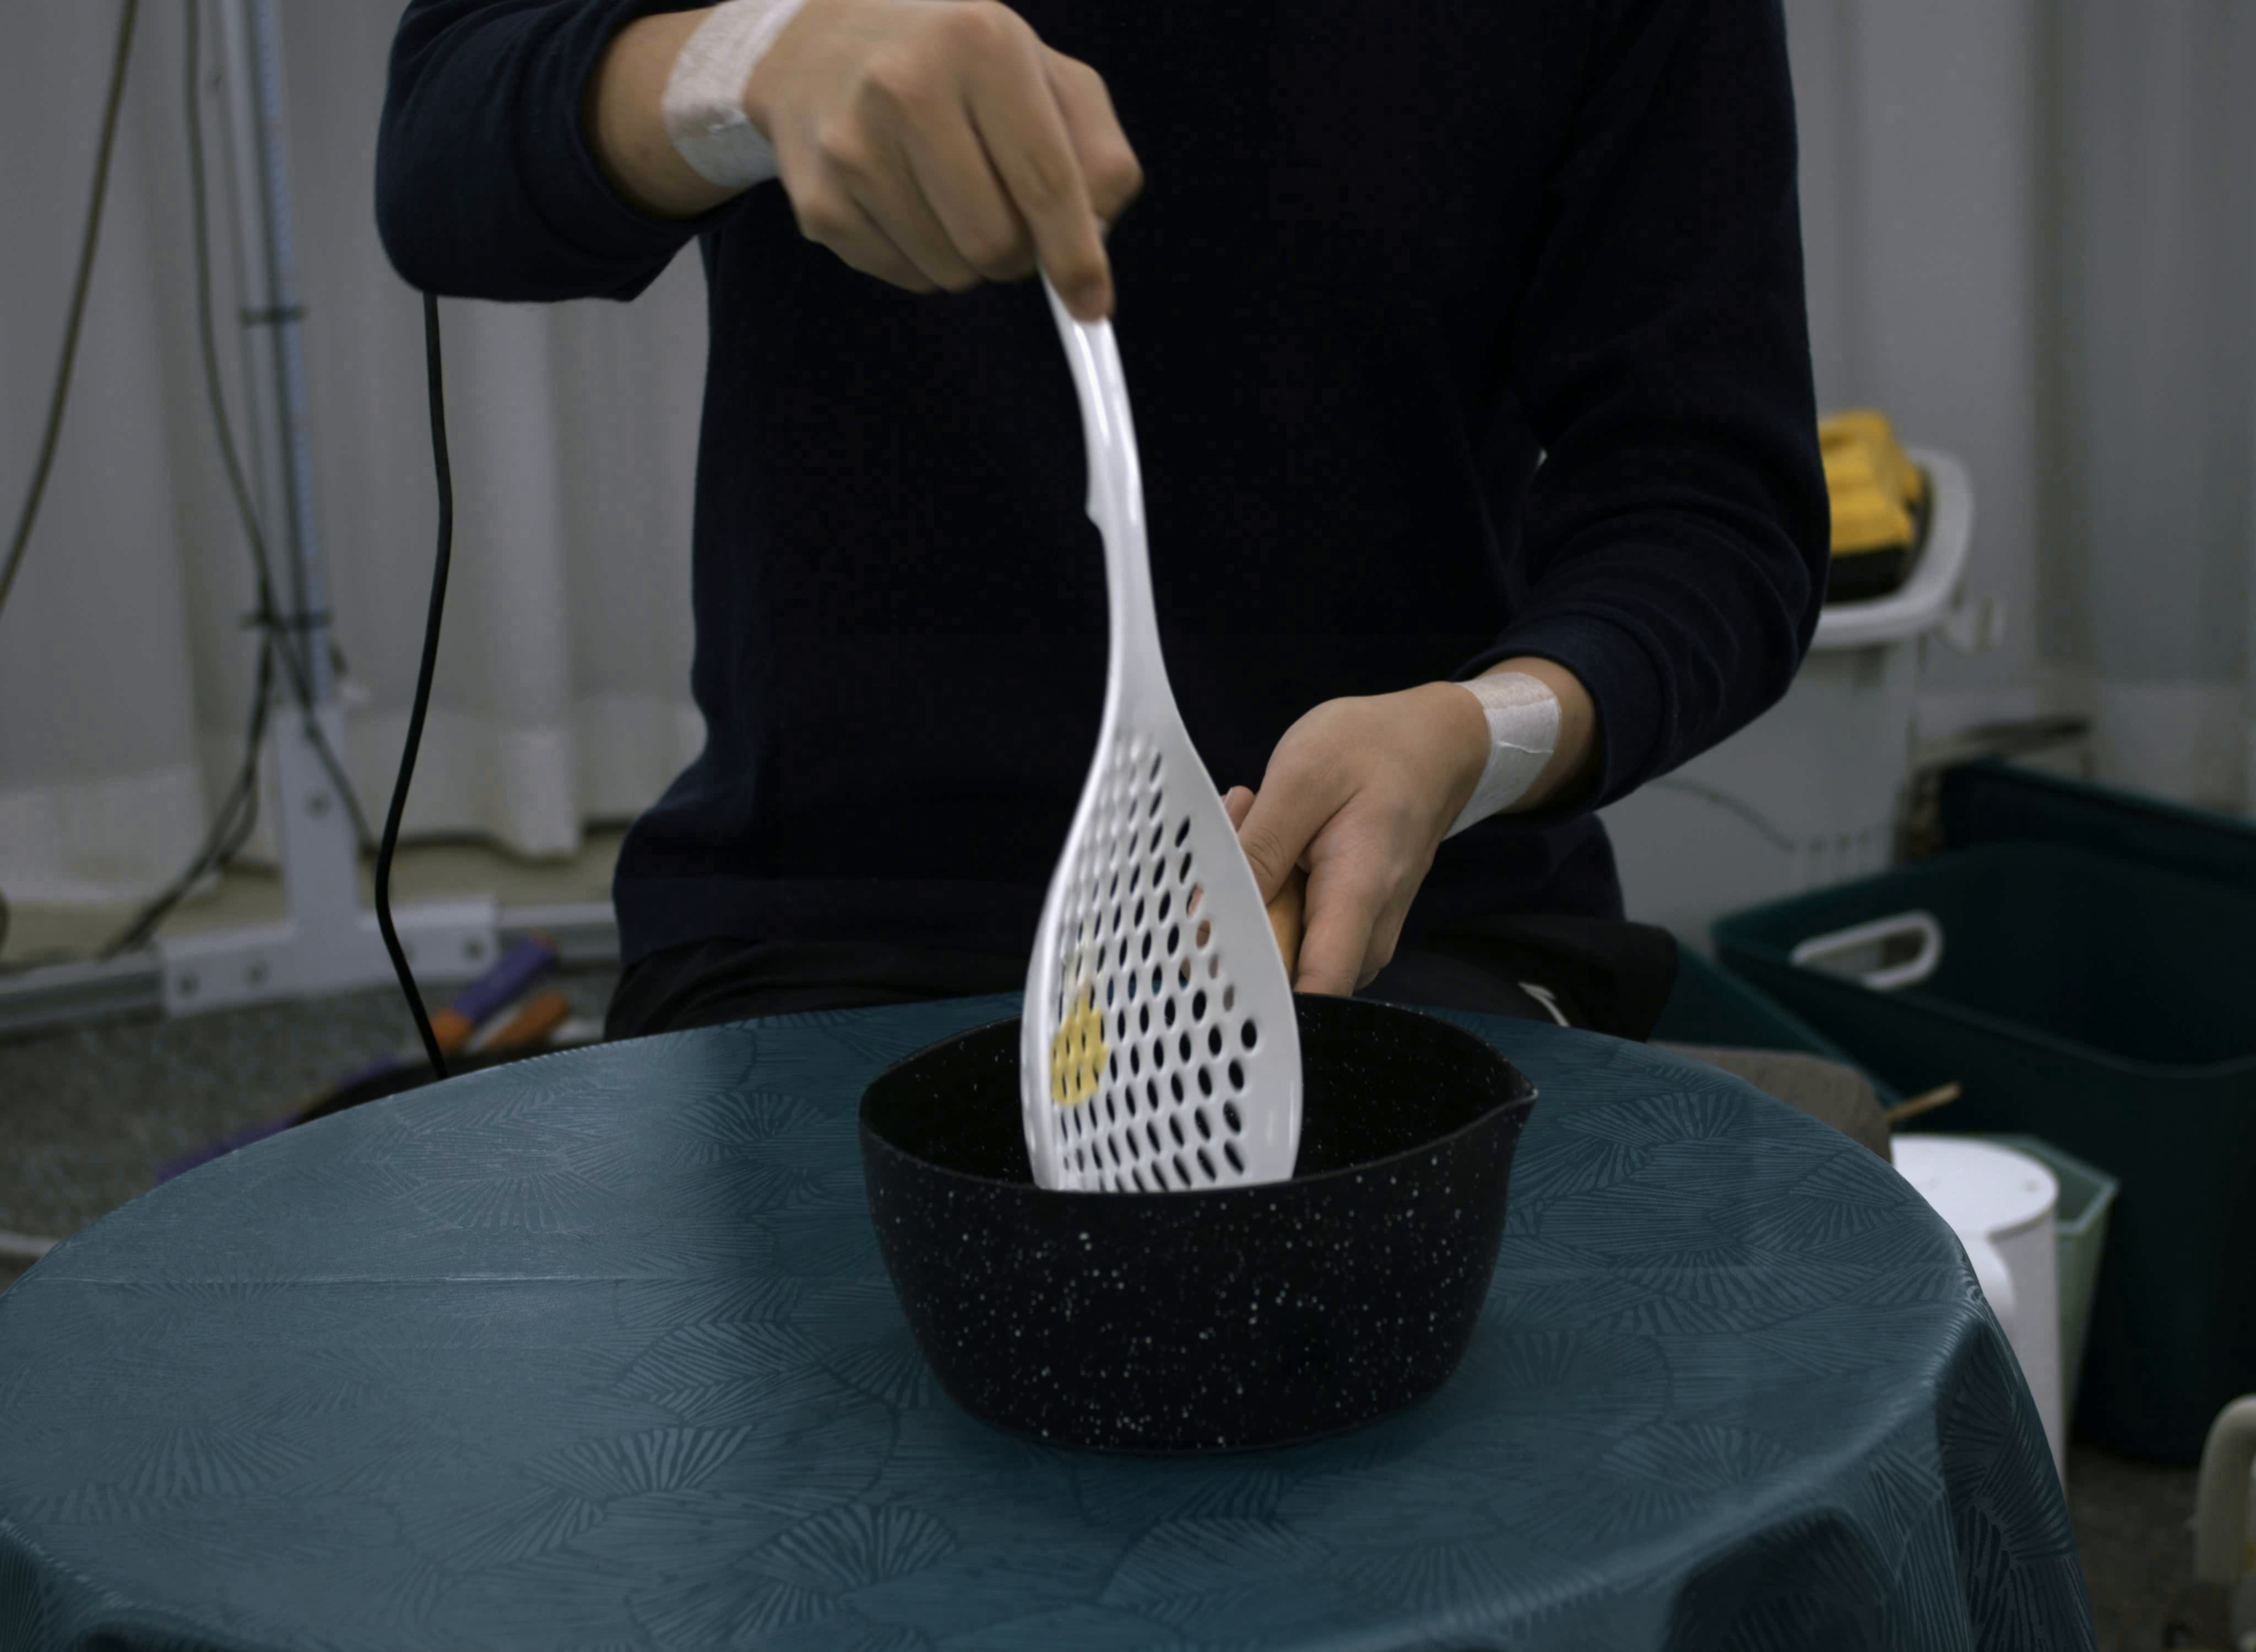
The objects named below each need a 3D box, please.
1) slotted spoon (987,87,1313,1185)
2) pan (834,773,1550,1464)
[{"bbox_3d":[-0.005,-0.032,1.526,0.050,0.347,0.137,6,15,31],"label":"slotted spoon"},{"bbox_3d":[0.028,0.082,1.627,0.207,0.108,0.345,-2,16,8],"label":"pan"}]
